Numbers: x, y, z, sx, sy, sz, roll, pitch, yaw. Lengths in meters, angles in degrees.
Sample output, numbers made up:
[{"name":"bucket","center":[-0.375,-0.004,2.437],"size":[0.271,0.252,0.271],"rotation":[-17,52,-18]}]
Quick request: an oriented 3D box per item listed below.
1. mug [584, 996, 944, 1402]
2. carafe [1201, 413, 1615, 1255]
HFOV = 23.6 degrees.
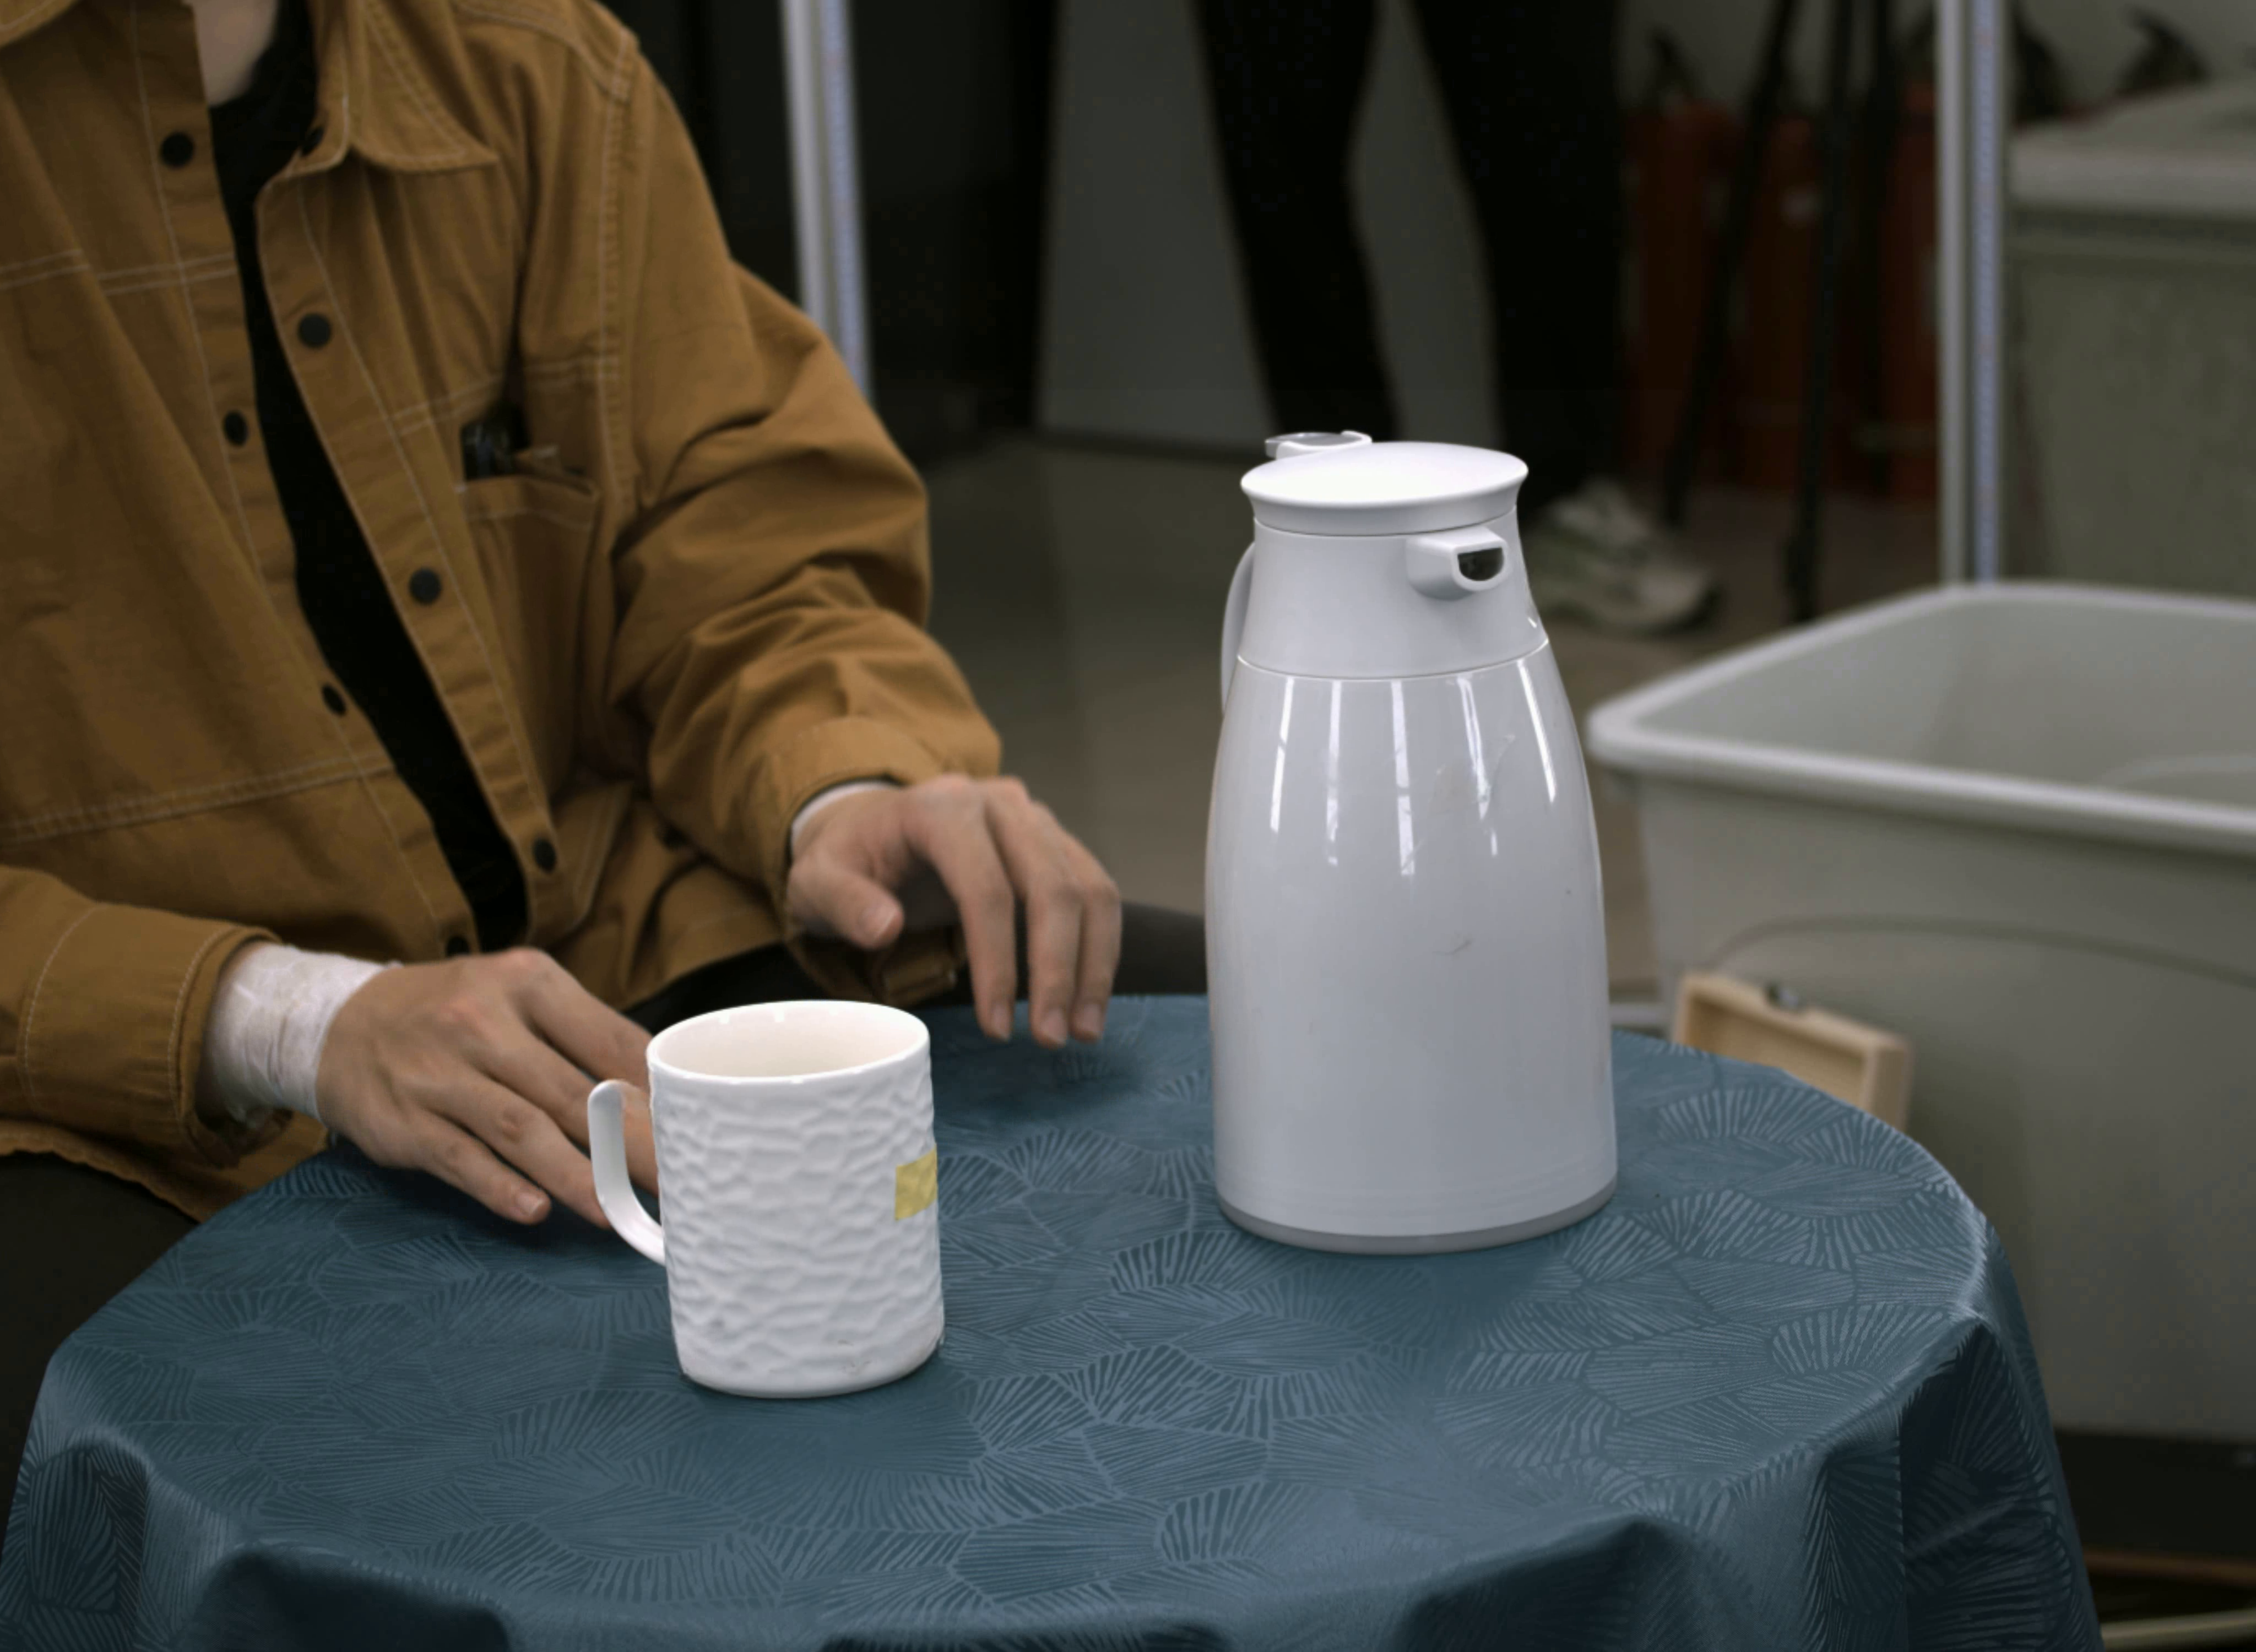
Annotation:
[{"name":"mug","center":[-0.113,0.111,1.635],"size":[0.119,0.103,0.083],"rotation":[4,16,32]},{"name":"carafe","center":[0.076,-0.006,1.741],"size":[0.130,0.251,0.169],"rotation":[-11,15,-25]}]
